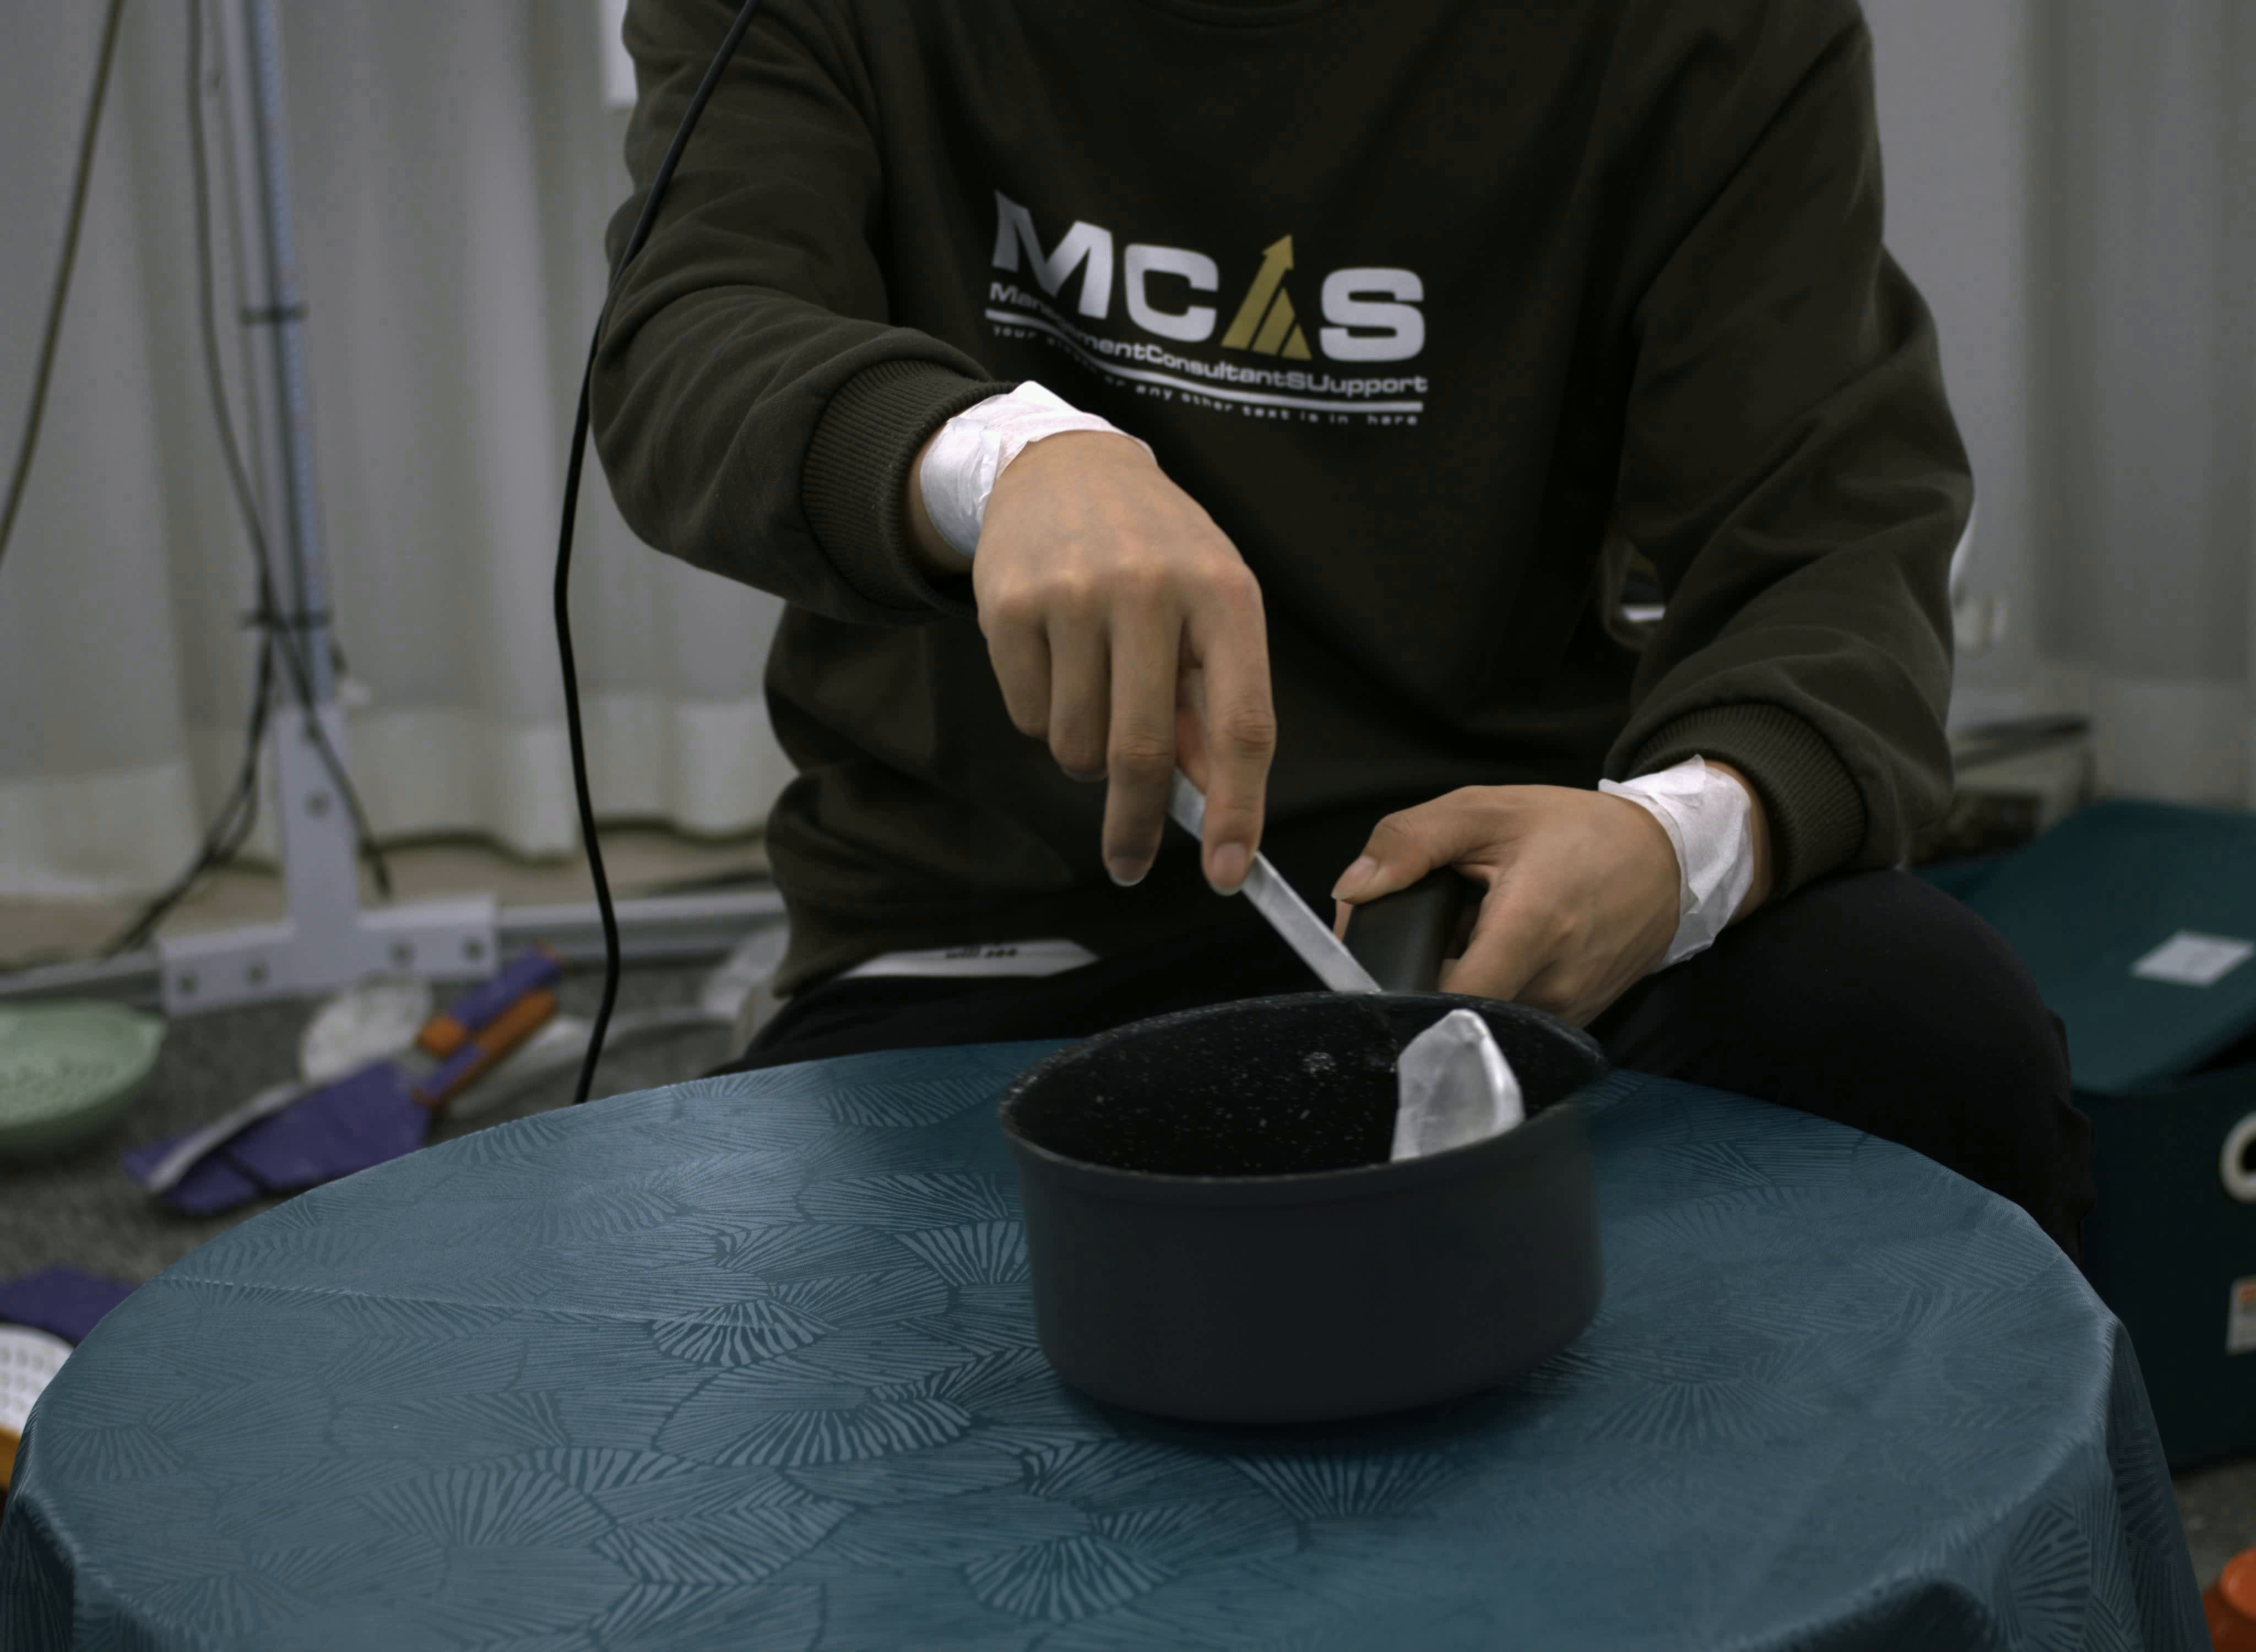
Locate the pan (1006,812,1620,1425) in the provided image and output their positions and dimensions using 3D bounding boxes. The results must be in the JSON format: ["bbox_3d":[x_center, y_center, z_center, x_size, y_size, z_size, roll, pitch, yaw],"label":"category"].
[{"bbox_3d":[0.073,0.083,1.622,0.172,0.086,0.330,-1,16,15],"label":"pan"}]

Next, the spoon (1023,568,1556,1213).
[{"bbox_3d":[0.037,0.020,1.583,0.059,0.100,0.280,-11,52,-46],"label":"spoon"}]
